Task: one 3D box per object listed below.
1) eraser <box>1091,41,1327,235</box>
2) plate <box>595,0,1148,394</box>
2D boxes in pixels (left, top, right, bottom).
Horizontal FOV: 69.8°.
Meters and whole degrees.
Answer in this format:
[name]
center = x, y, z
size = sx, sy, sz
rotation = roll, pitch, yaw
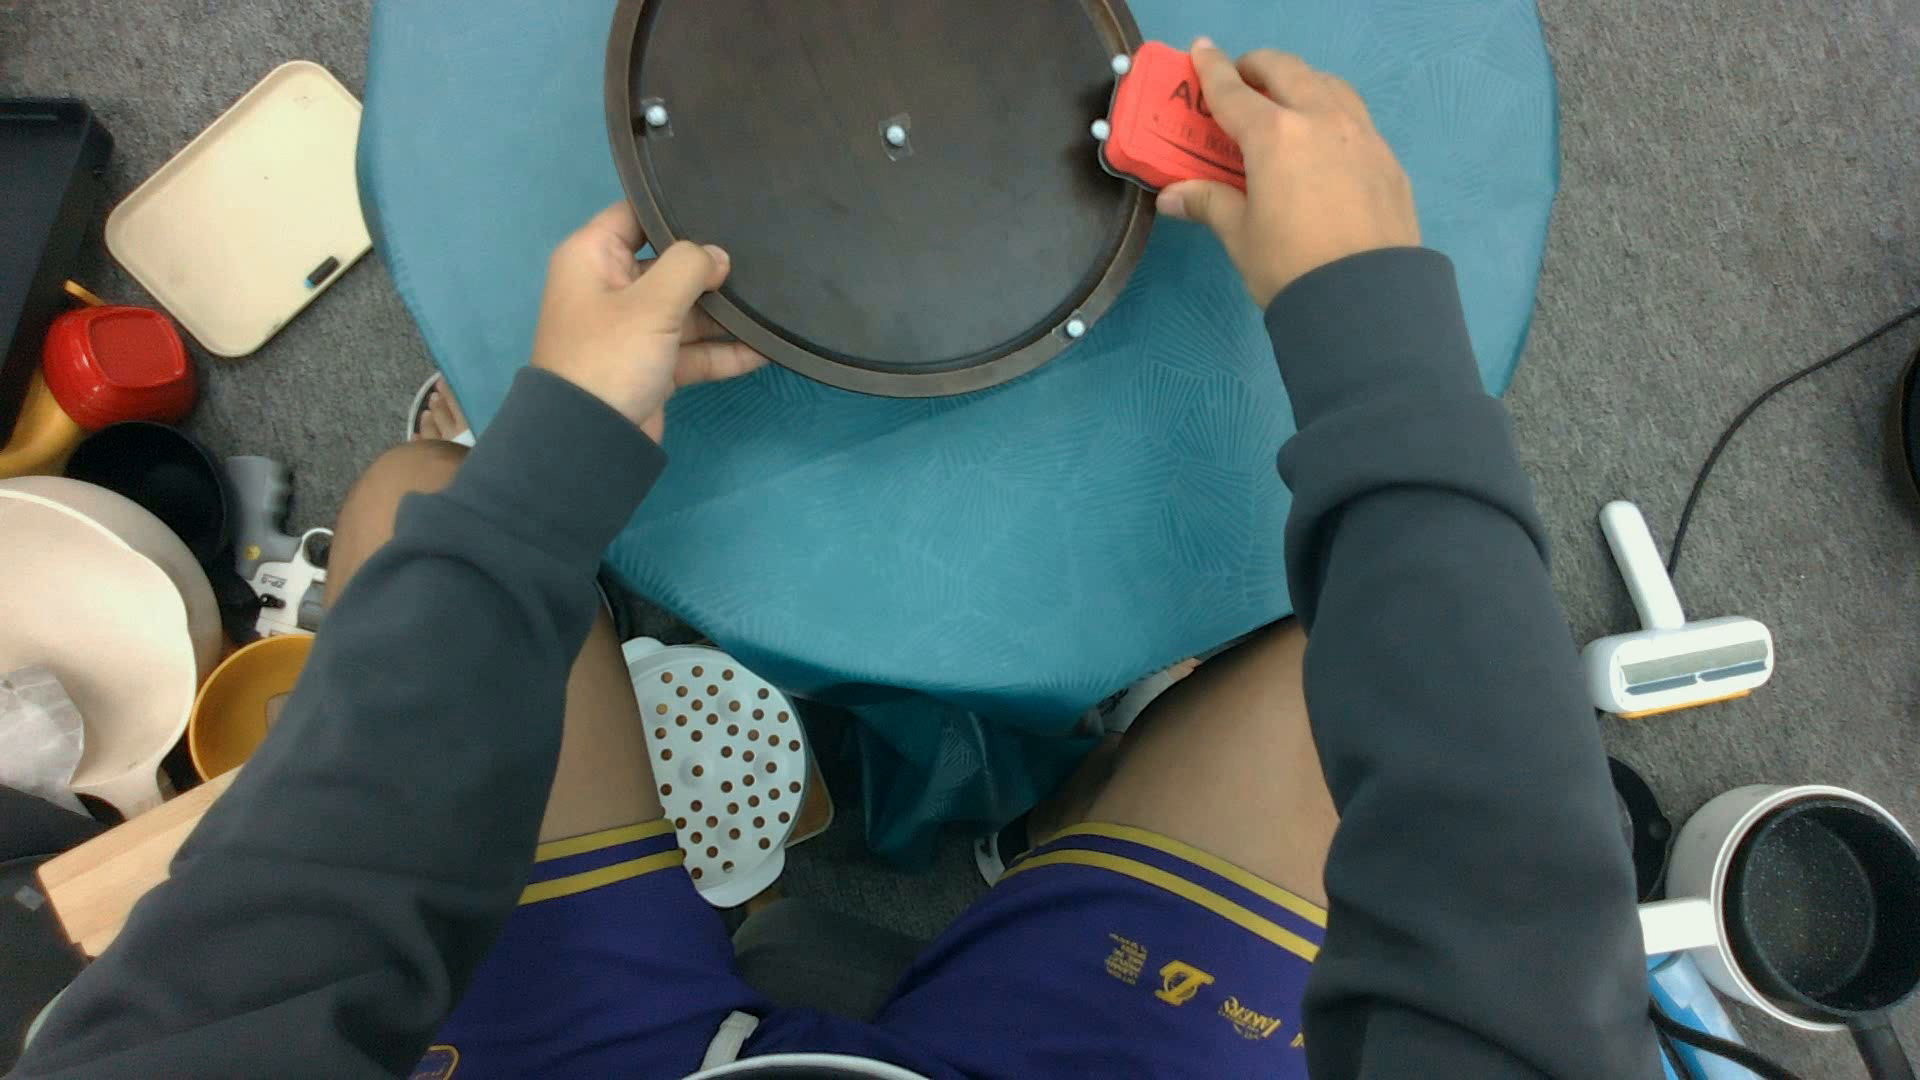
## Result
[eraser]
center = 0.117, -0.186, 0.640
size = 0.108, 0.023, 0.059
rotation = 17, 79, -17
[plate]
center = -0.034, -0.189, 0.622
size = 0.255, 0.029, 0.255
rotation = 2, 84, -17
